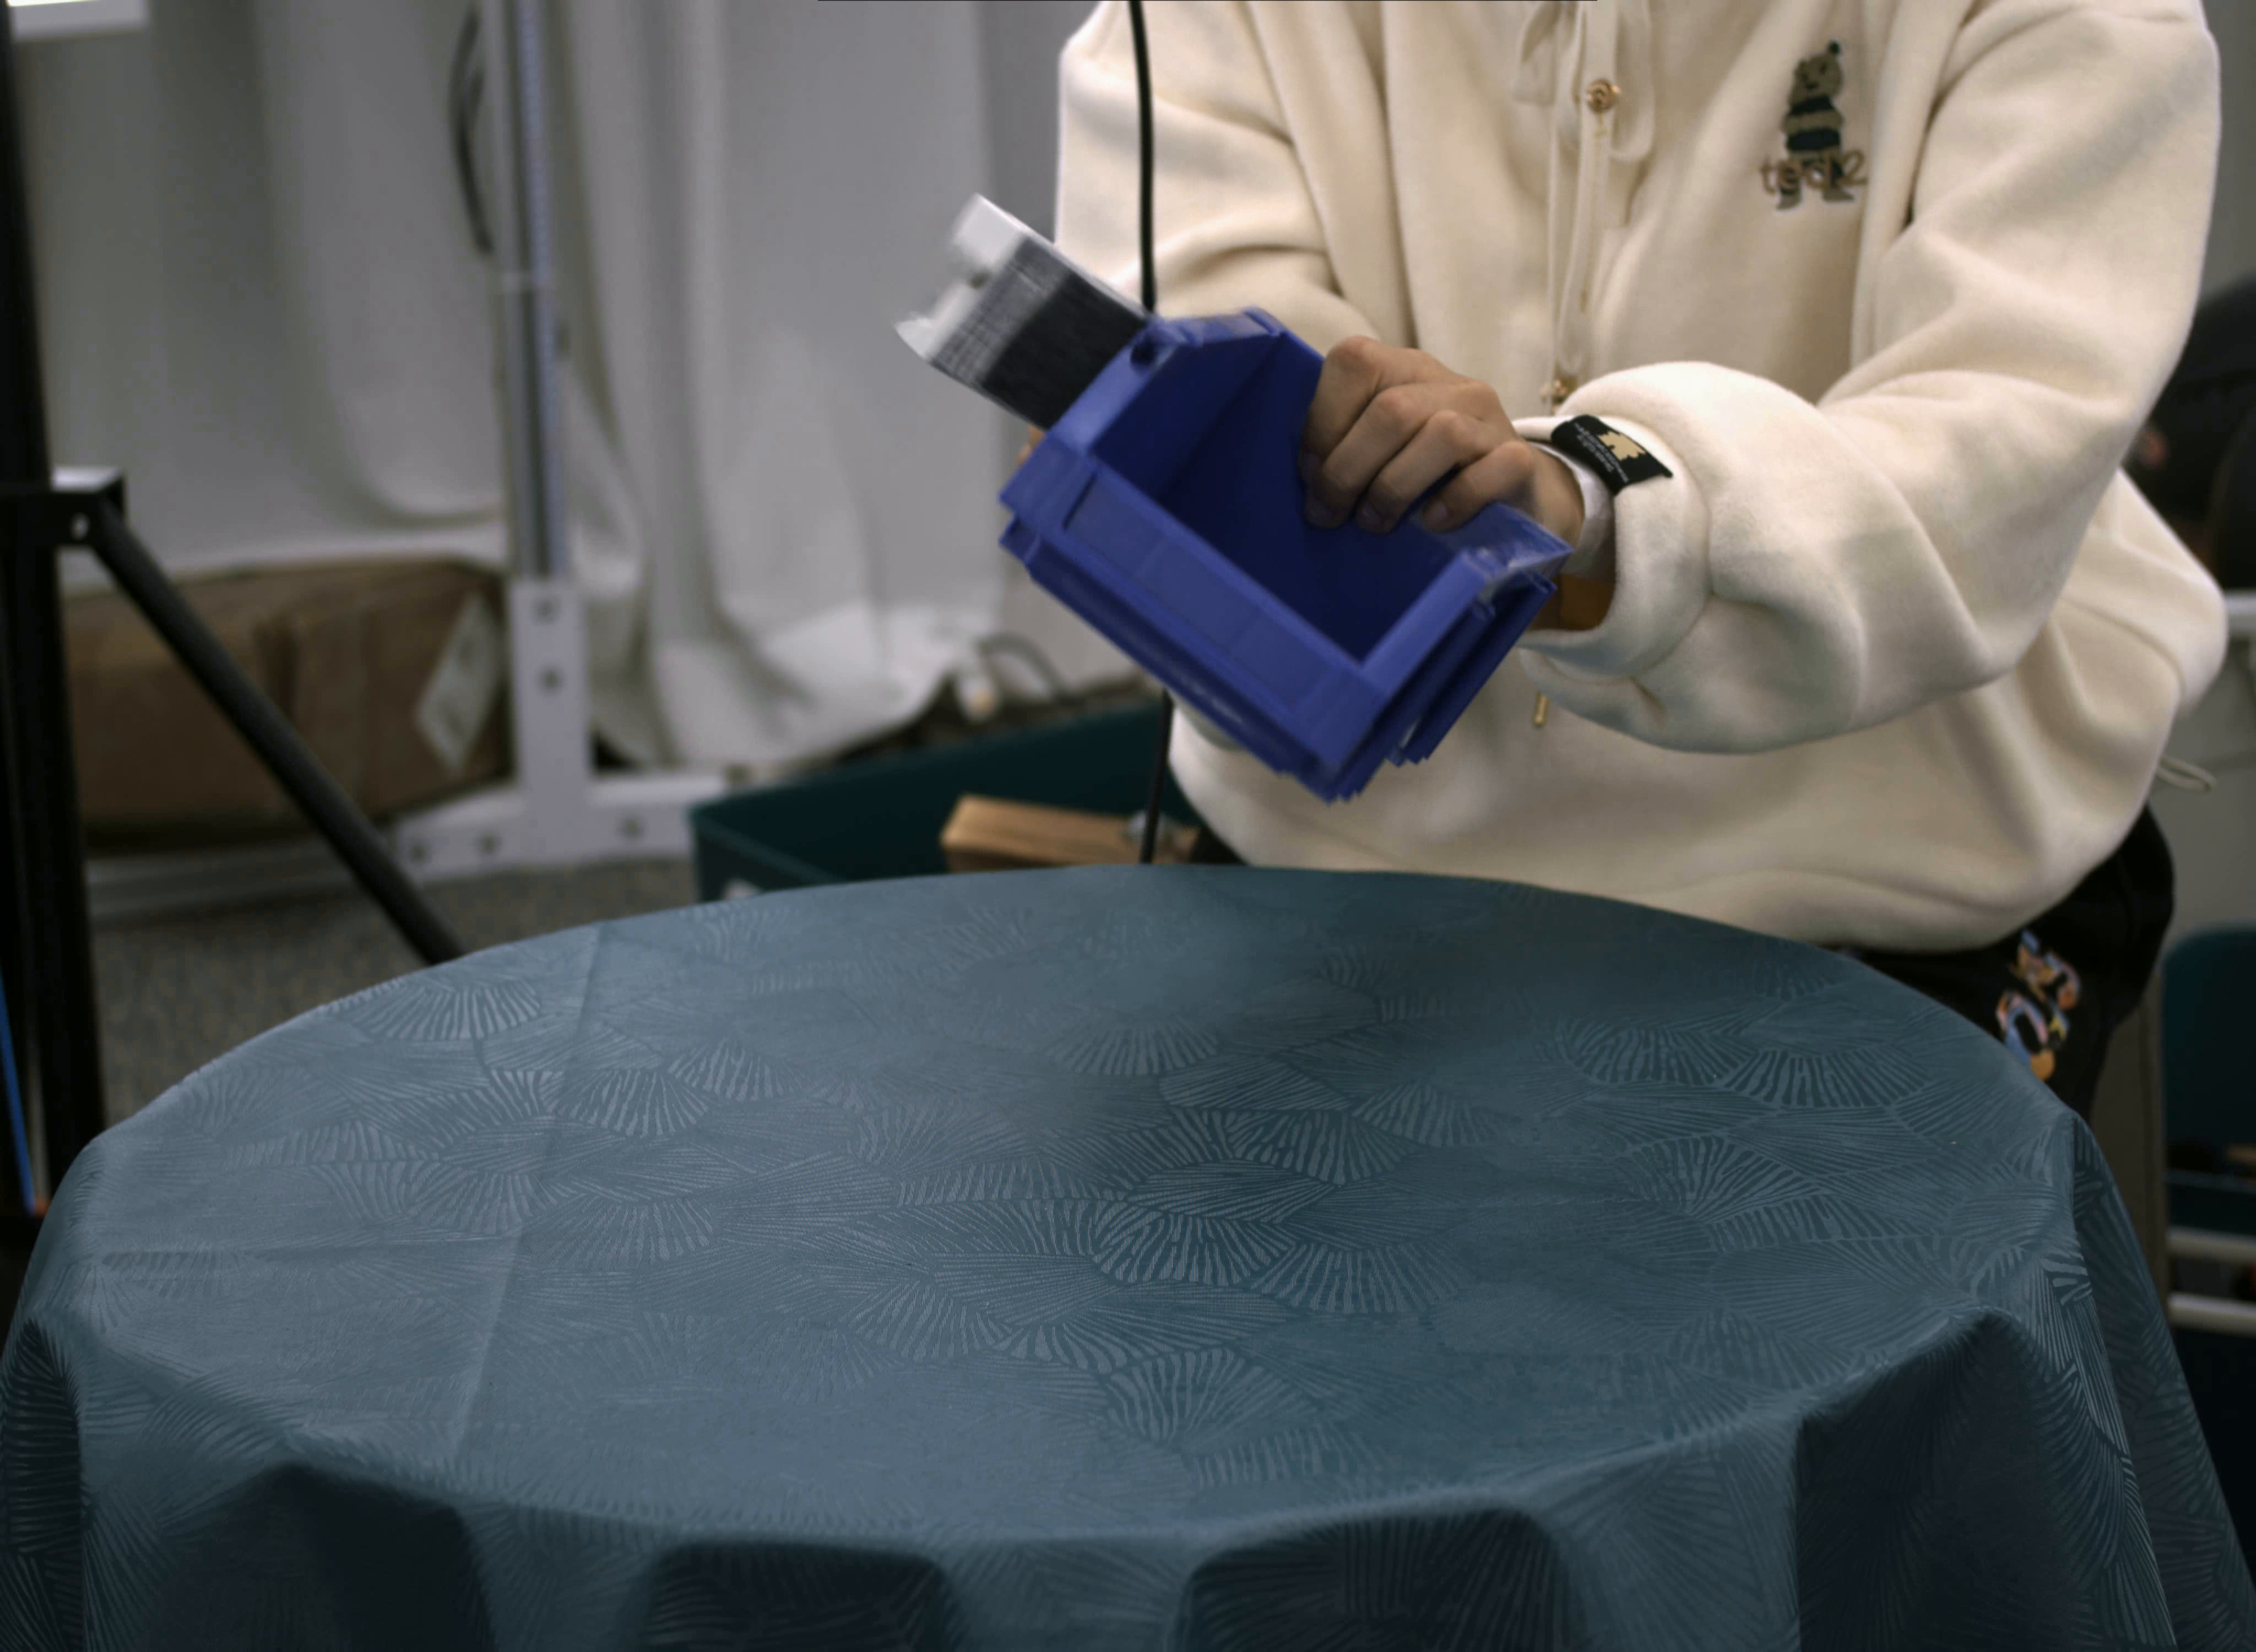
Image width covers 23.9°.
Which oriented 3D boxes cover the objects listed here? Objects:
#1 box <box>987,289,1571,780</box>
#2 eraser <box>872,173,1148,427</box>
[{"bbox_3d":[0.044,-0.081,1.516,0.125,0.082,0.177,39,11,11],"label":"box"},{"bbox_3d":[-0.019,-0.145,1.636,0.047,0.050,0.131,41,5,33],"label":"eraser"}]
